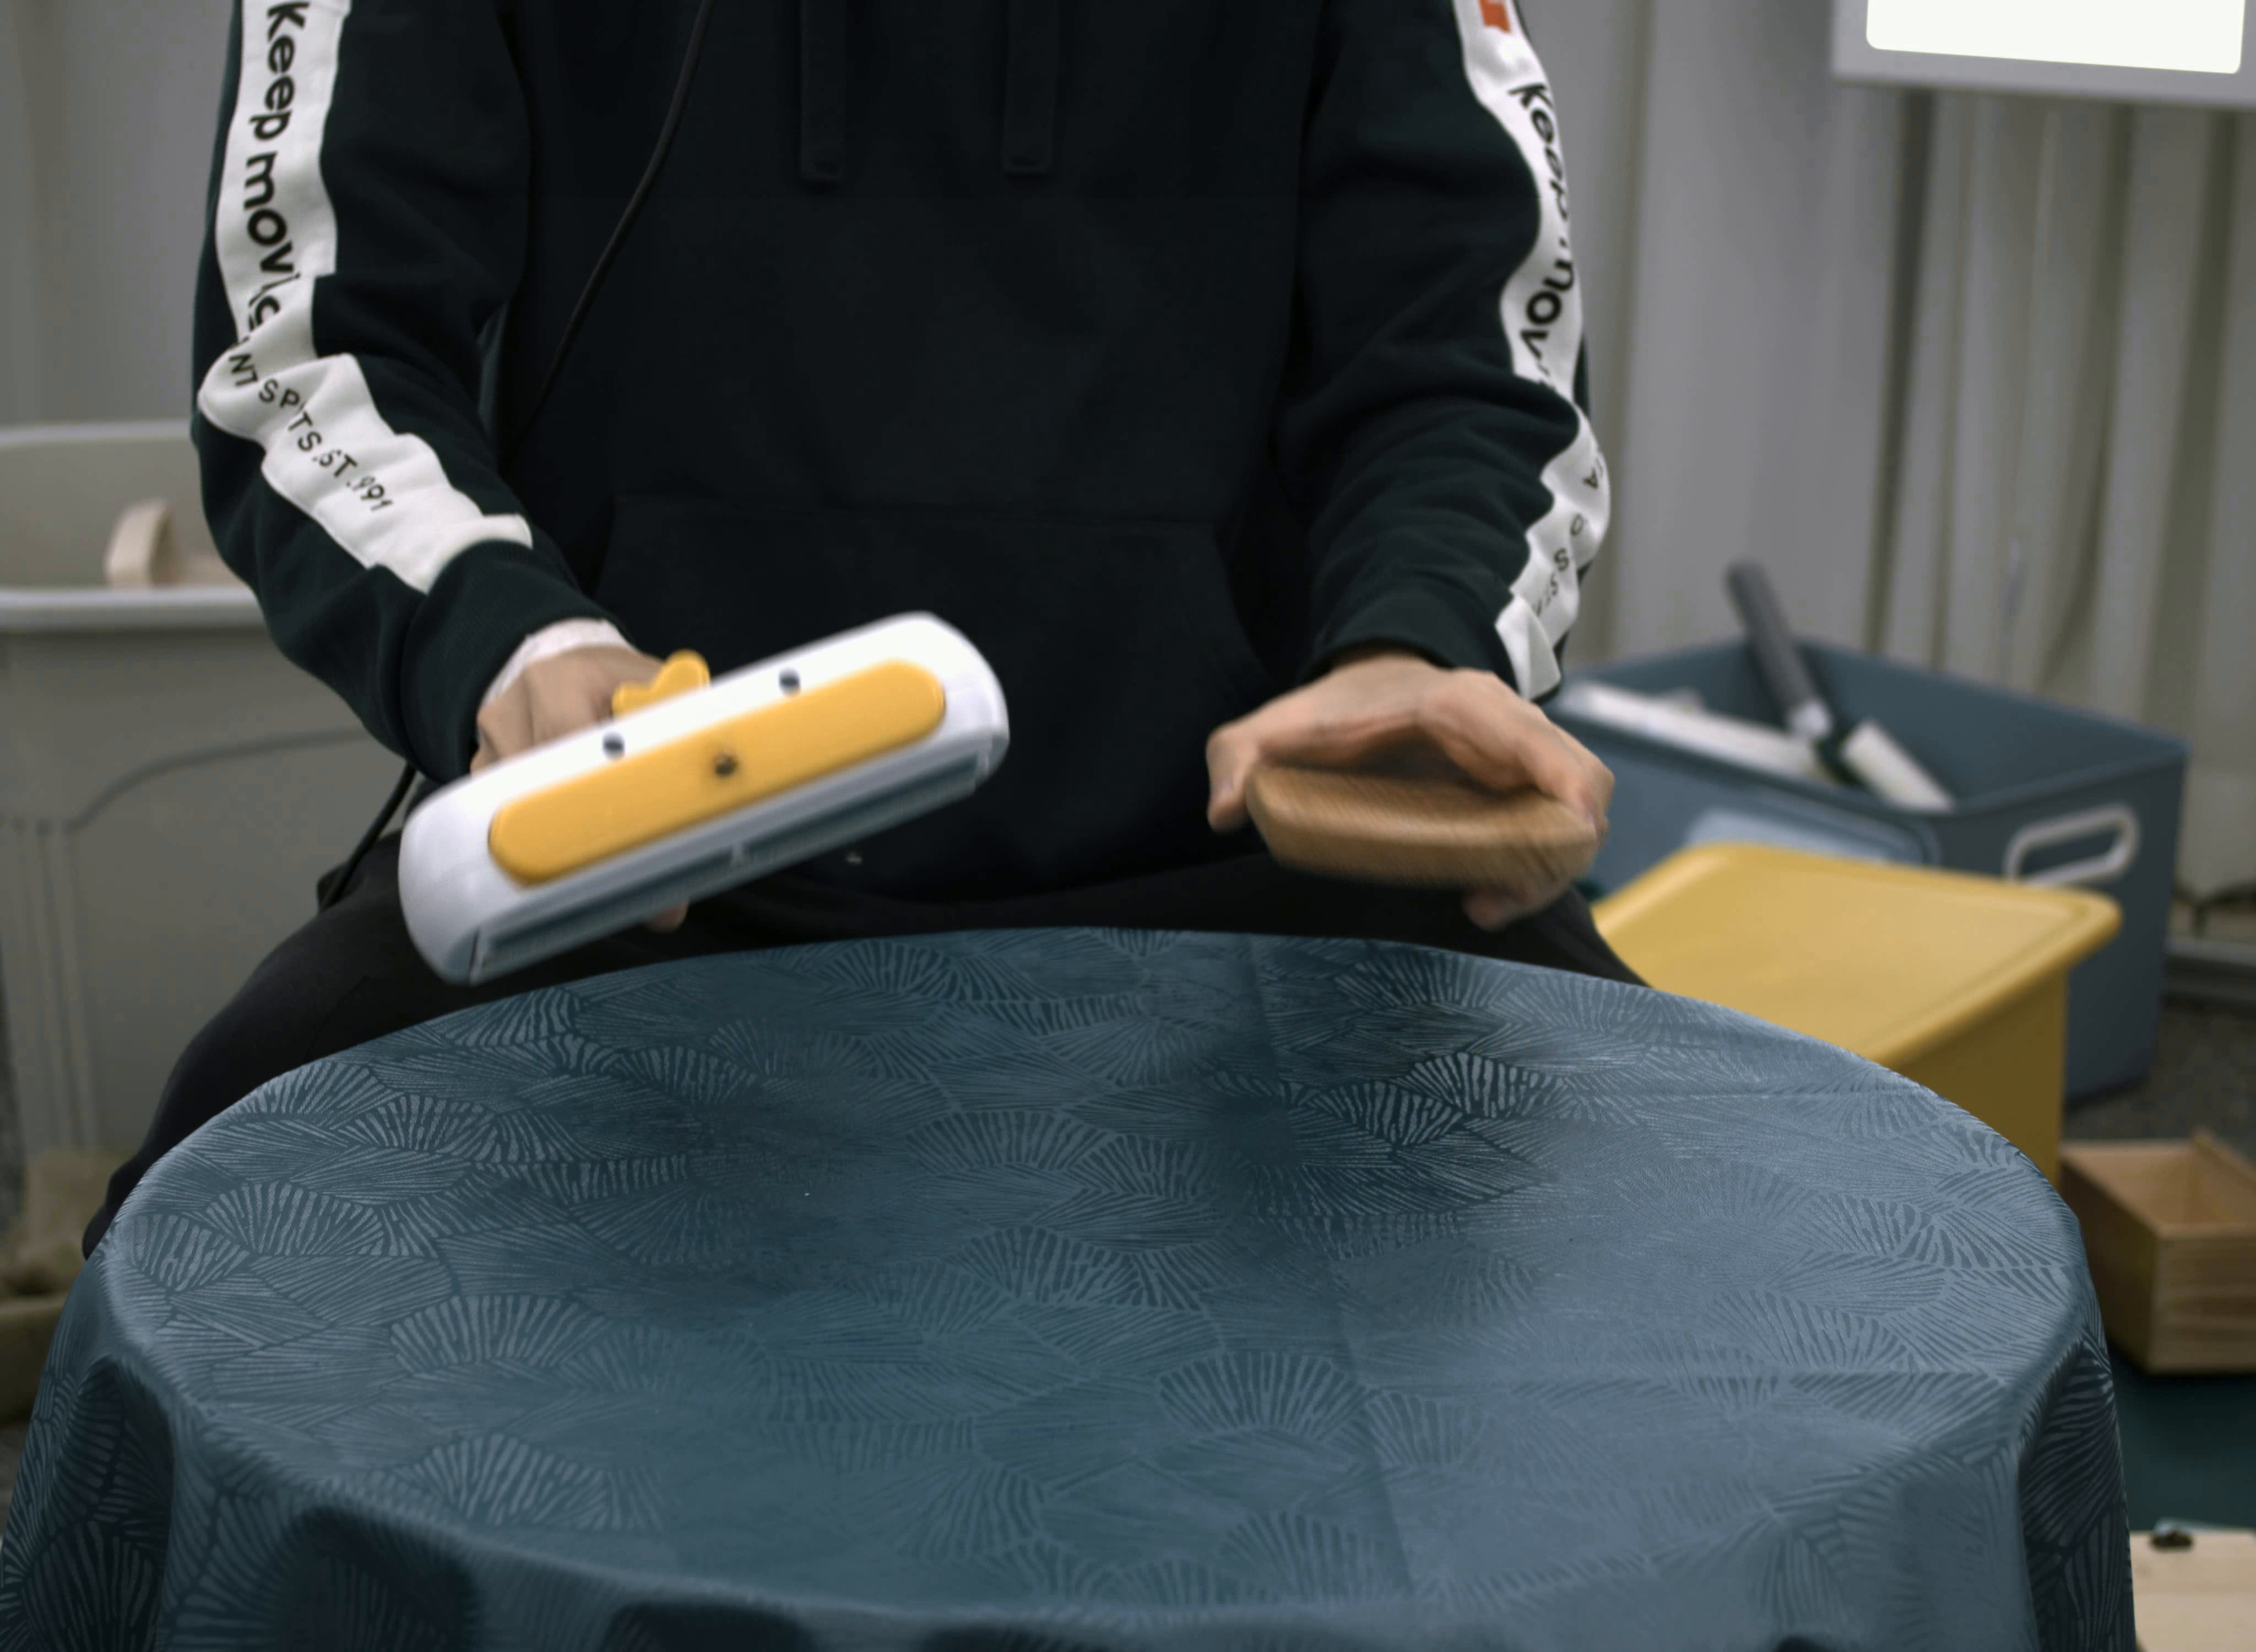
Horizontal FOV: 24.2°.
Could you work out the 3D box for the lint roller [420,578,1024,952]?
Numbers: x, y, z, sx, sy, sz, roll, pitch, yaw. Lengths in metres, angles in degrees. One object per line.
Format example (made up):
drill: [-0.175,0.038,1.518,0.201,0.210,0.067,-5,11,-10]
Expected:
lint roller: [-0.142,-0.009,1.632,0.193,0.074,0.192,-26,-6,-22]

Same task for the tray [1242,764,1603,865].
tray: [0.090,-0.004,1.656,0.101,0.020,0.230,3,5,-3]
